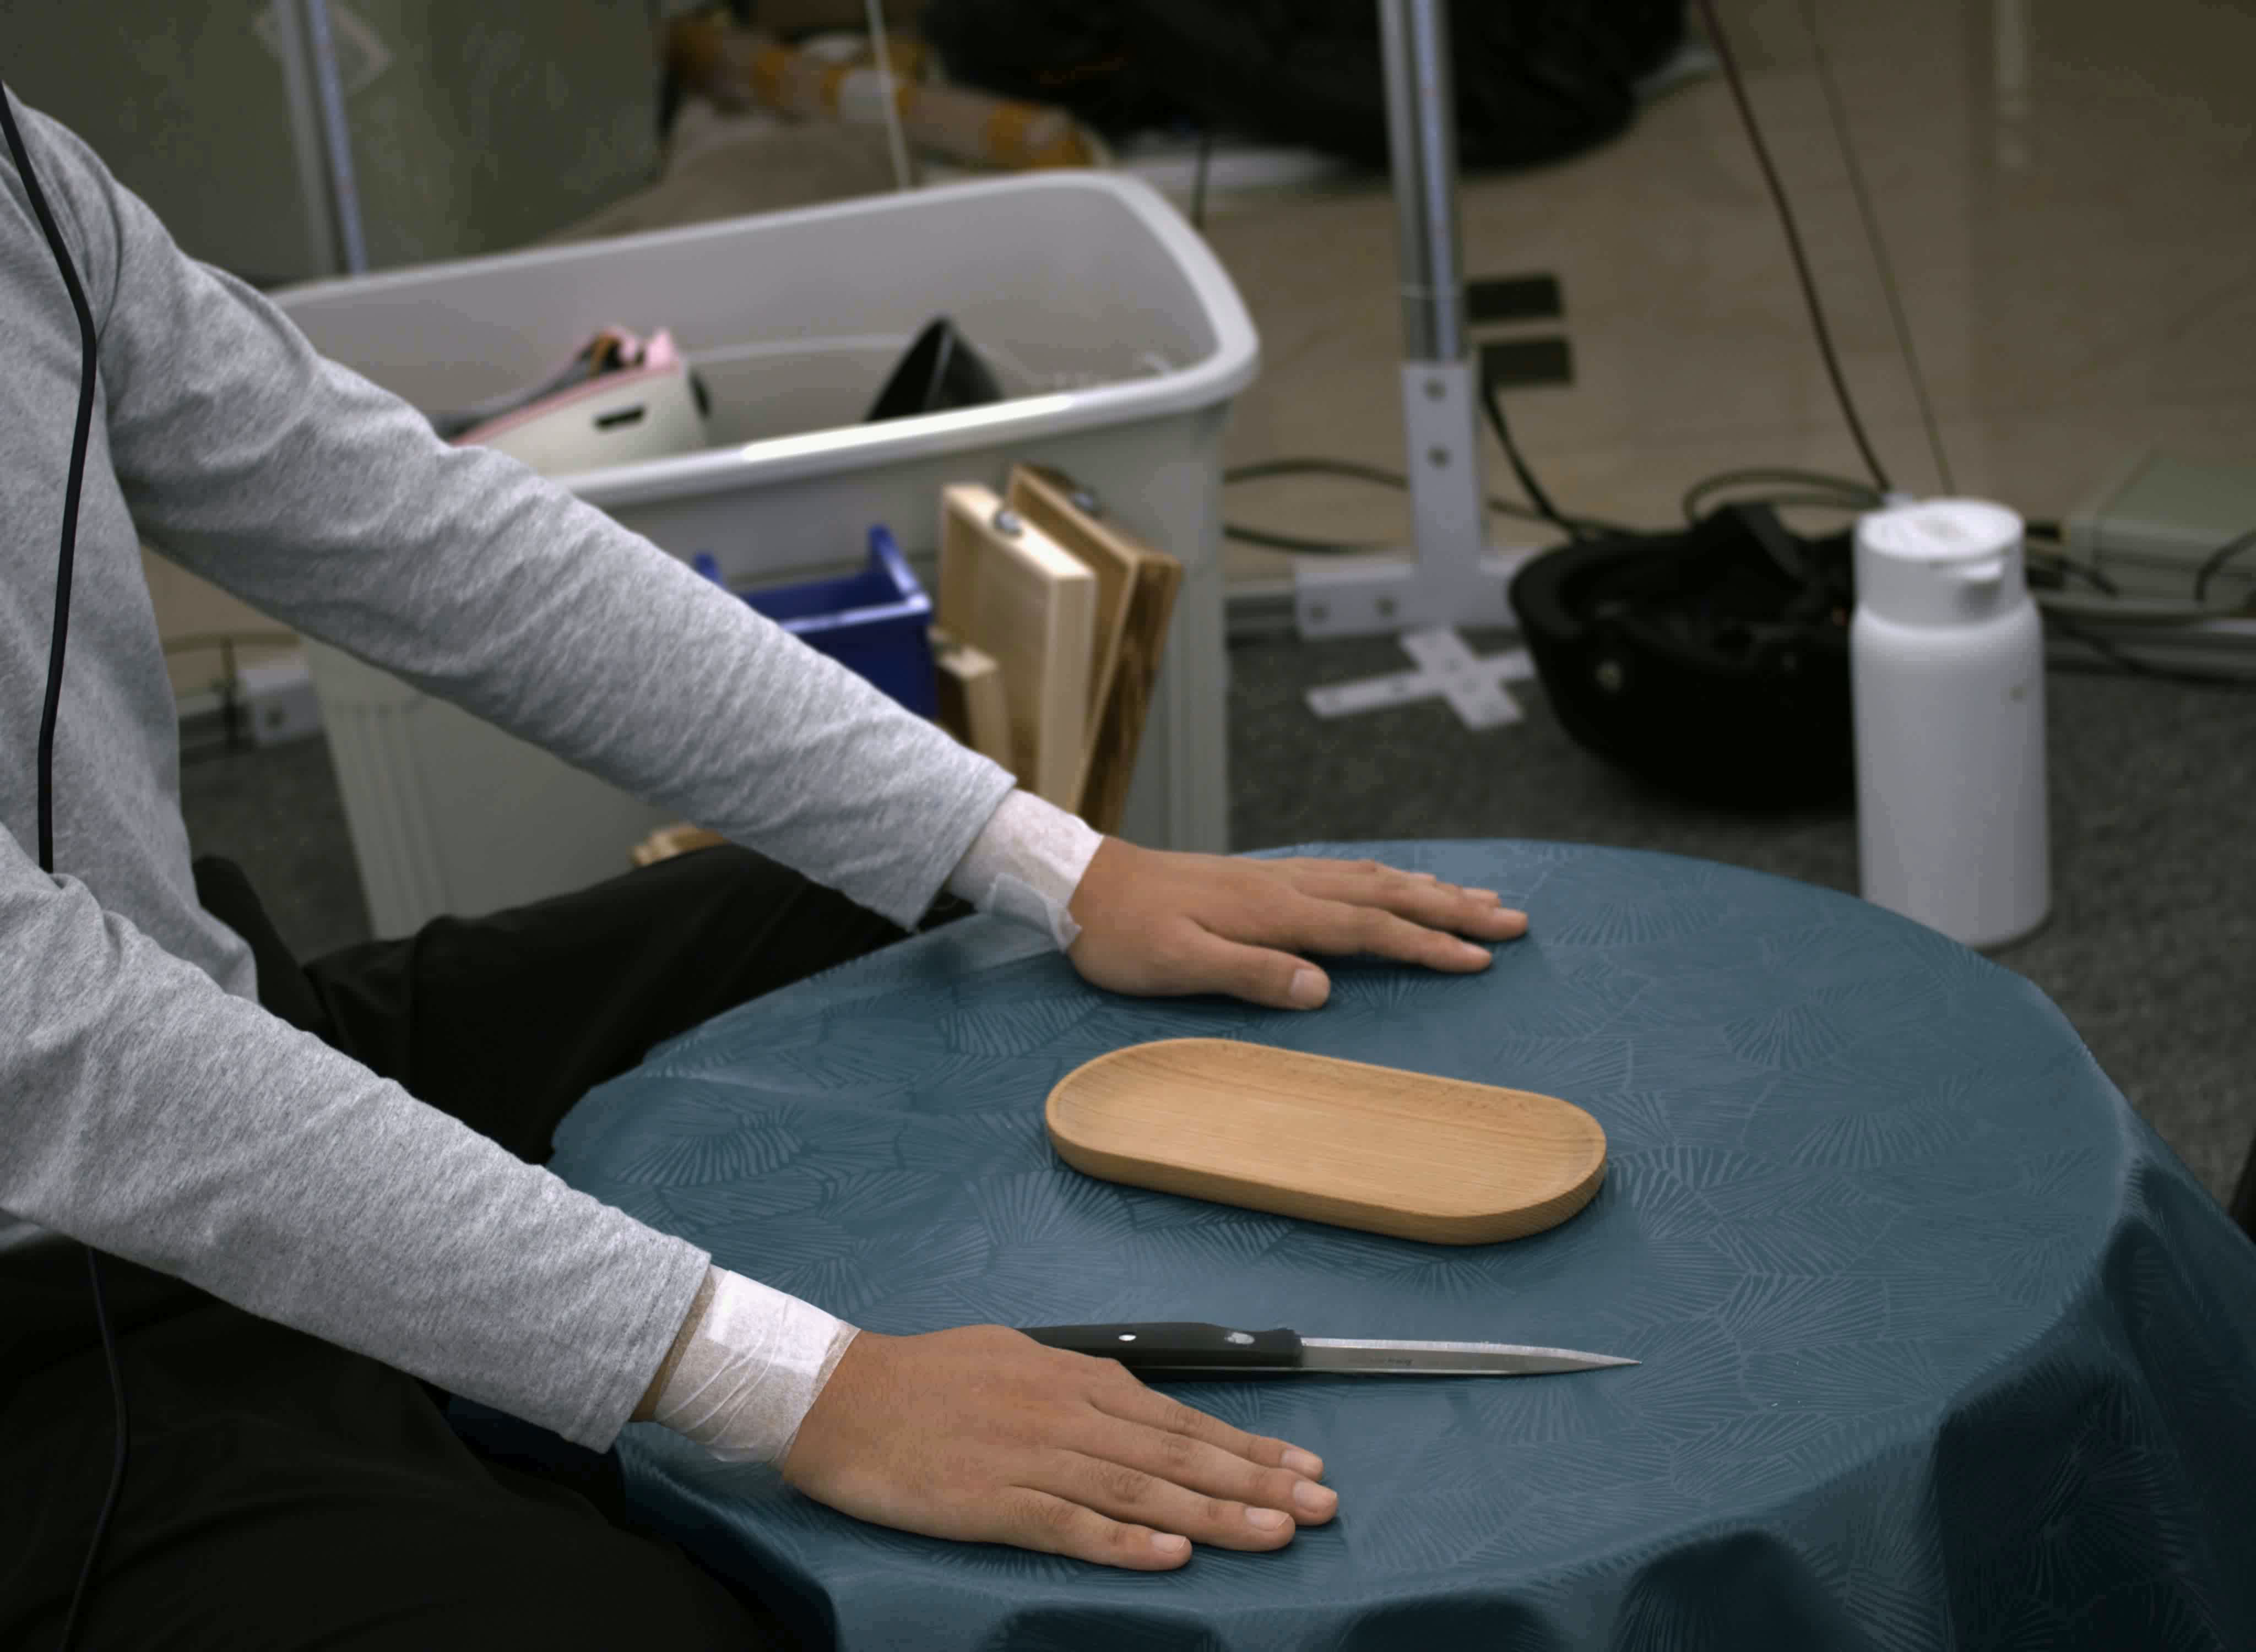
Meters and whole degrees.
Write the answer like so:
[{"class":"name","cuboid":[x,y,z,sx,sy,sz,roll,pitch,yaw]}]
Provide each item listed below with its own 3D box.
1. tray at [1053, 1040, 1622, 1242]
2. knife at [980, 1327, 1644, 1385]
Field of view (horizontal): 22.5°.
[{"class":"tray","cuboid":[0.078,0.119,2.157,0.230,0.020,0.100,9,30,28]},{"class":"knife","cuboid":[0.064,0.189,2.016,0.238,0.016,0.024,0,24,7]}]
